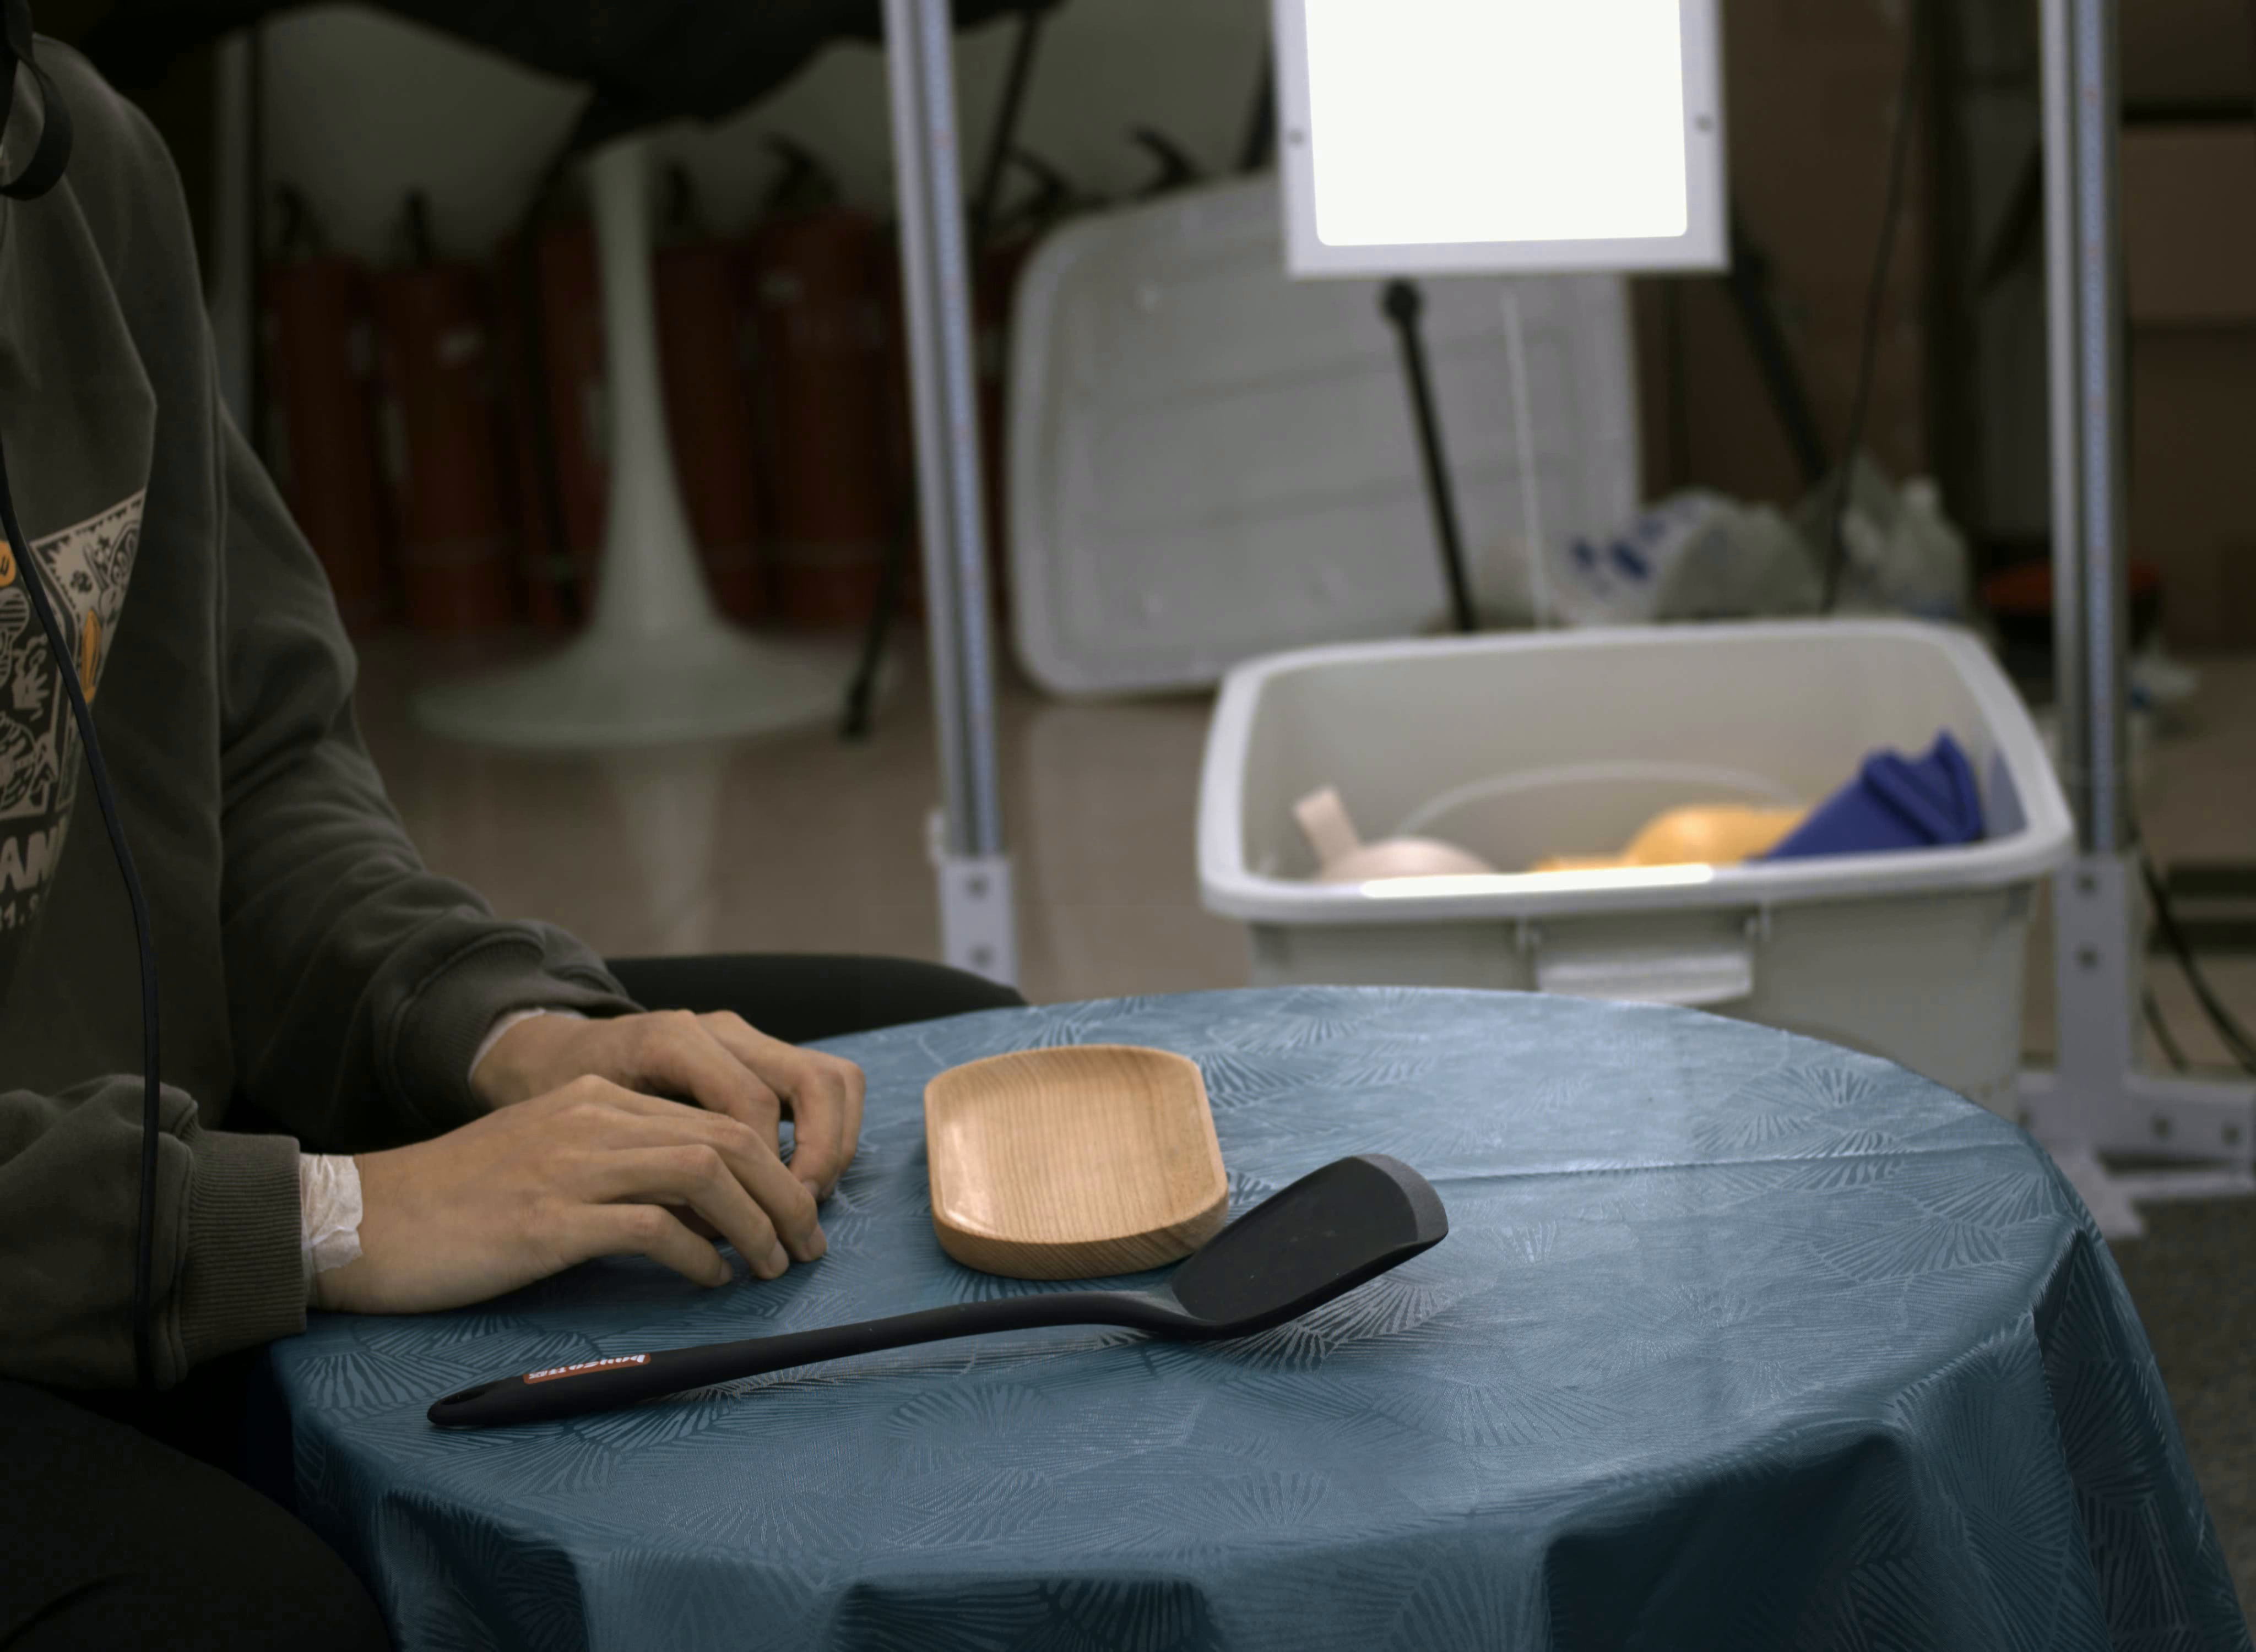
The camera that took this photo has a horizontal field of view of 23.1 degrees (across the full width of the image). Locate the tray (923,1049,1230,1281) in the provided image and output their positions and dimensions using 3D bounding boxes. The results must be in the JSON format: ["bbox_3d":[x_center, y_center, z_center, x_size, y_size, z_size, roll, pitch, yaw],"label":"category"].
[{"bbox_3d":[-0.019,0.116,1.914,0.101,0.020,0.231,-6,15,-1],"label":"tray"}]

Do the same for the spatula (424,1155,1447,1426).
[{"bbox_3d":[-0.061,0.152,1.739,0.323,0.040,0.100,-7,13,-6],"label":"spatula"}]
